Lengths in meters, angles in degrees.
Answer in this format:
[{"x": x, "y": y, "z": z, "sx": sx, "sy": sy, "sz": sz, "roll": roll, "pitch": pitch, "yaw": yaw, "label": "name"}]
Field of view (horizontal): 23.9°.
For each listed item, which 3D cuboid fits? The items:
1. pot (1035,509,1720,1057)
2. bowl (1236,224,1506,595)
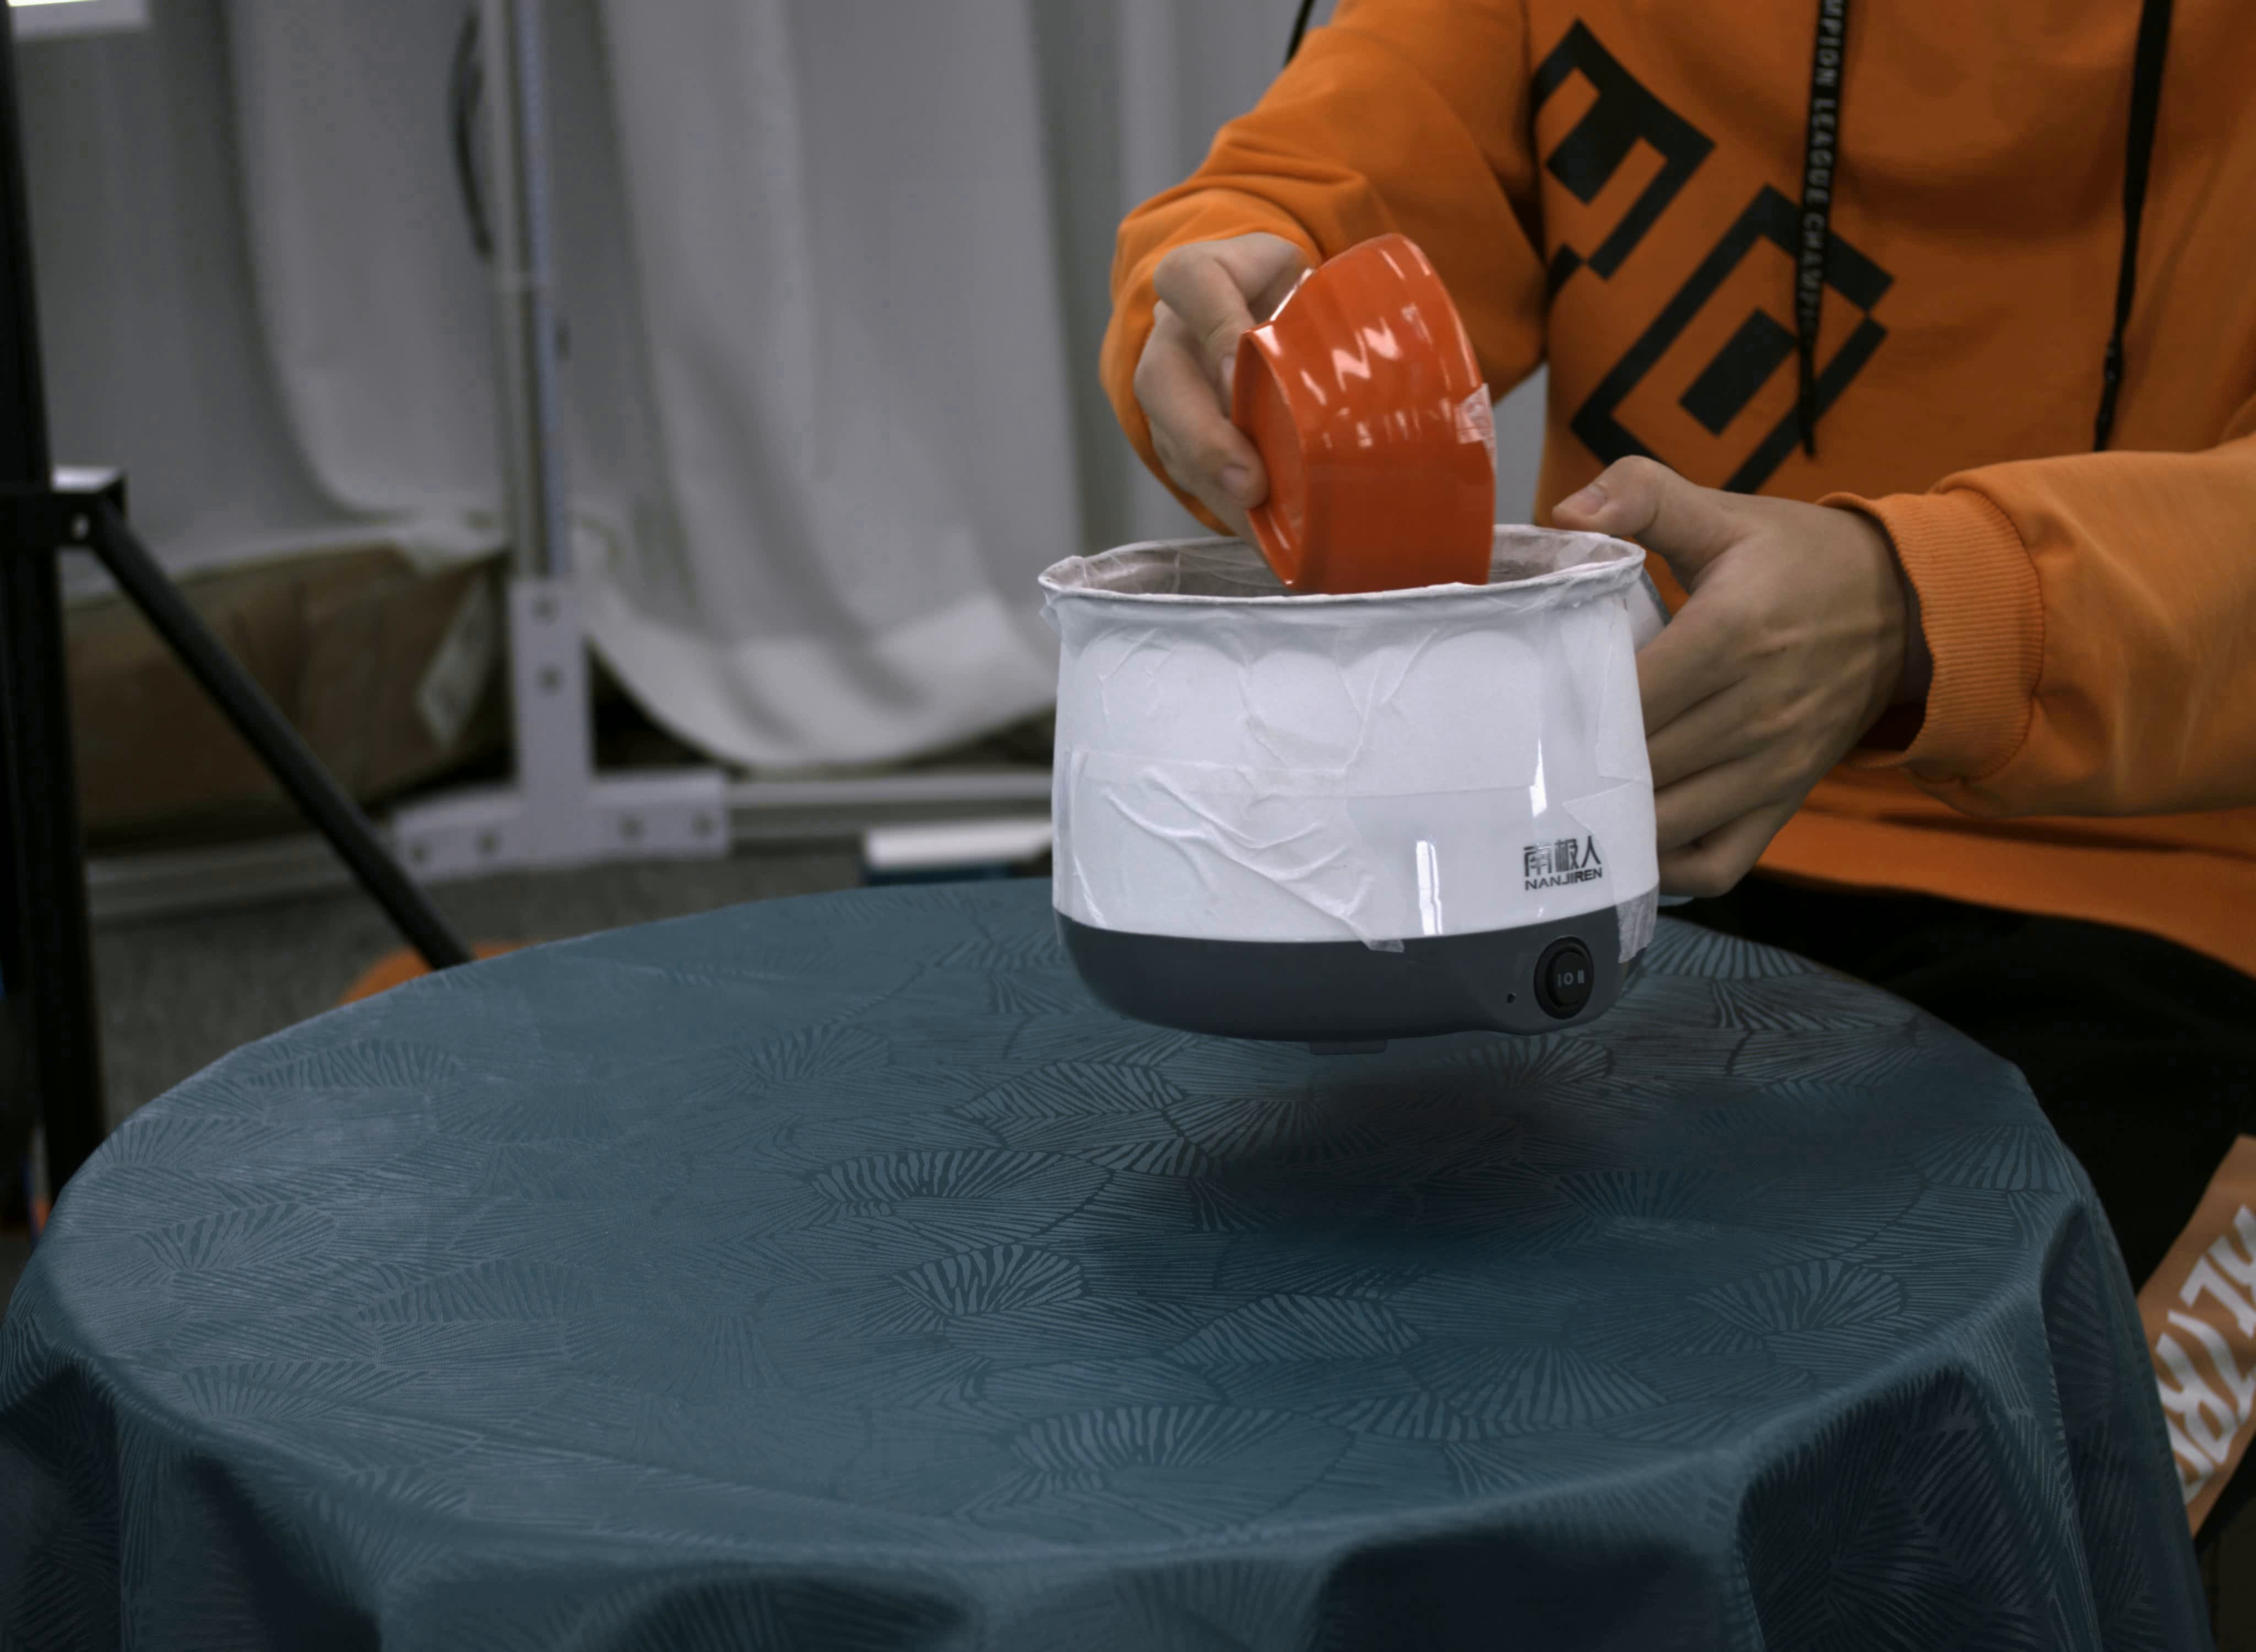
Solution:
[{"x": 0.084, "y": -0.018, "z": 1.561, "sx": 0.228, "sy": 0.137, "sz": 0.183, "roll": -10, "pitch": 12, "yaw": -40, "label": "pot"}, {"x": 0.066, "y": -0.110, "z": 1.533, "sx": 0.050, "sy": 0.119, "sz": 0.121, "roll": -11, "pitch": 17, "yaw": -14, "label": "bowl"}]
